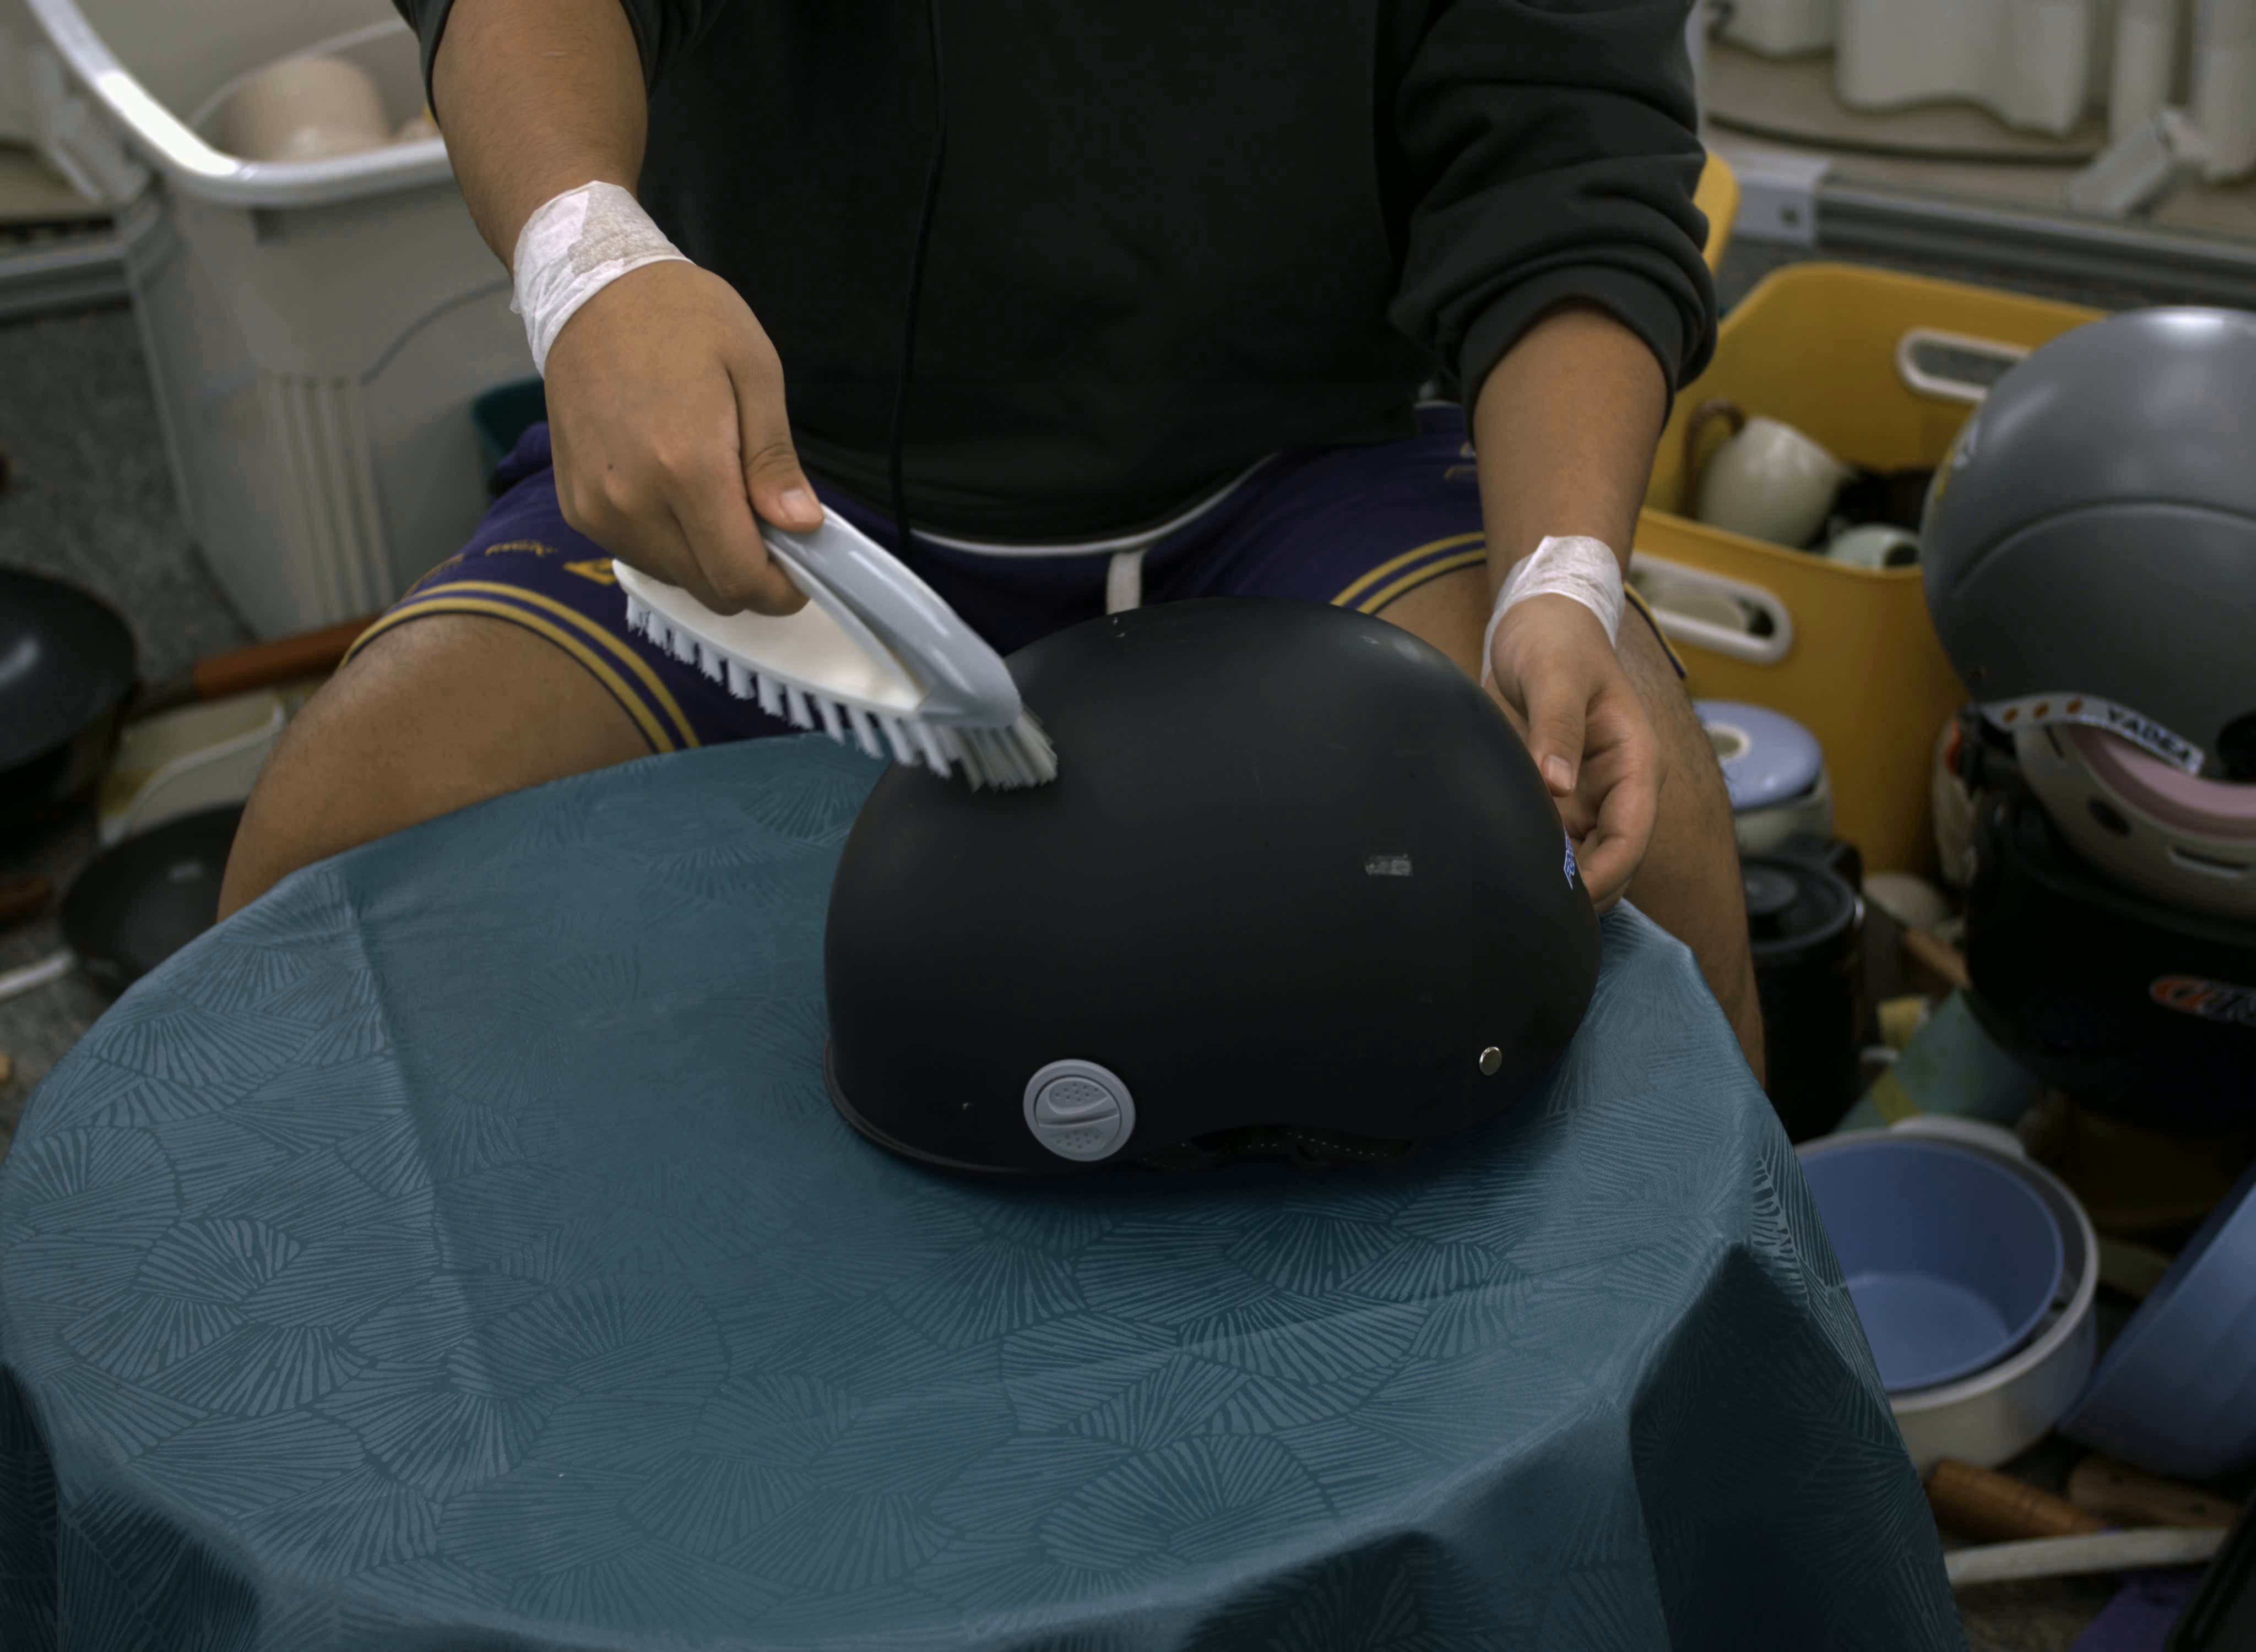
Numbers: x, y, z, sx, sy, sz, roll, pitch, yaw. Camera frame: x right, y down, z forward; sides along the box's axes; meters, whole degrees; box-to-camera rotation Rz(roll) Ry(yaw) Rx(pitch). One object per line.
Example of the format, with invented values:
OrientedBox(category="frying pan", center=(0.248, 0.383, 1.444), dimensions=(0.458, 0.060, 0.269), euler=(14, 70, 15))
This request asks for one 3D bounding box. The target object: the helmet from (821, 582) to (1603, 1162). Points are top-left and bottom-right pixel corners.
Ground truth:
OrientedBox(category="helmet", center=(0.023, 0.006, 1.913), dimensions=(0.271, 0.165, 0.233), euler=(-3, 26, 5))

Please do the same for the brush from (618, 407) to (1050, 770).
OrientedBox(category="brush", center=(-0.098, -0.083, 1.853), dimensions=(0.176, 0.093, 0.062), euler=(33, 68, 28))
